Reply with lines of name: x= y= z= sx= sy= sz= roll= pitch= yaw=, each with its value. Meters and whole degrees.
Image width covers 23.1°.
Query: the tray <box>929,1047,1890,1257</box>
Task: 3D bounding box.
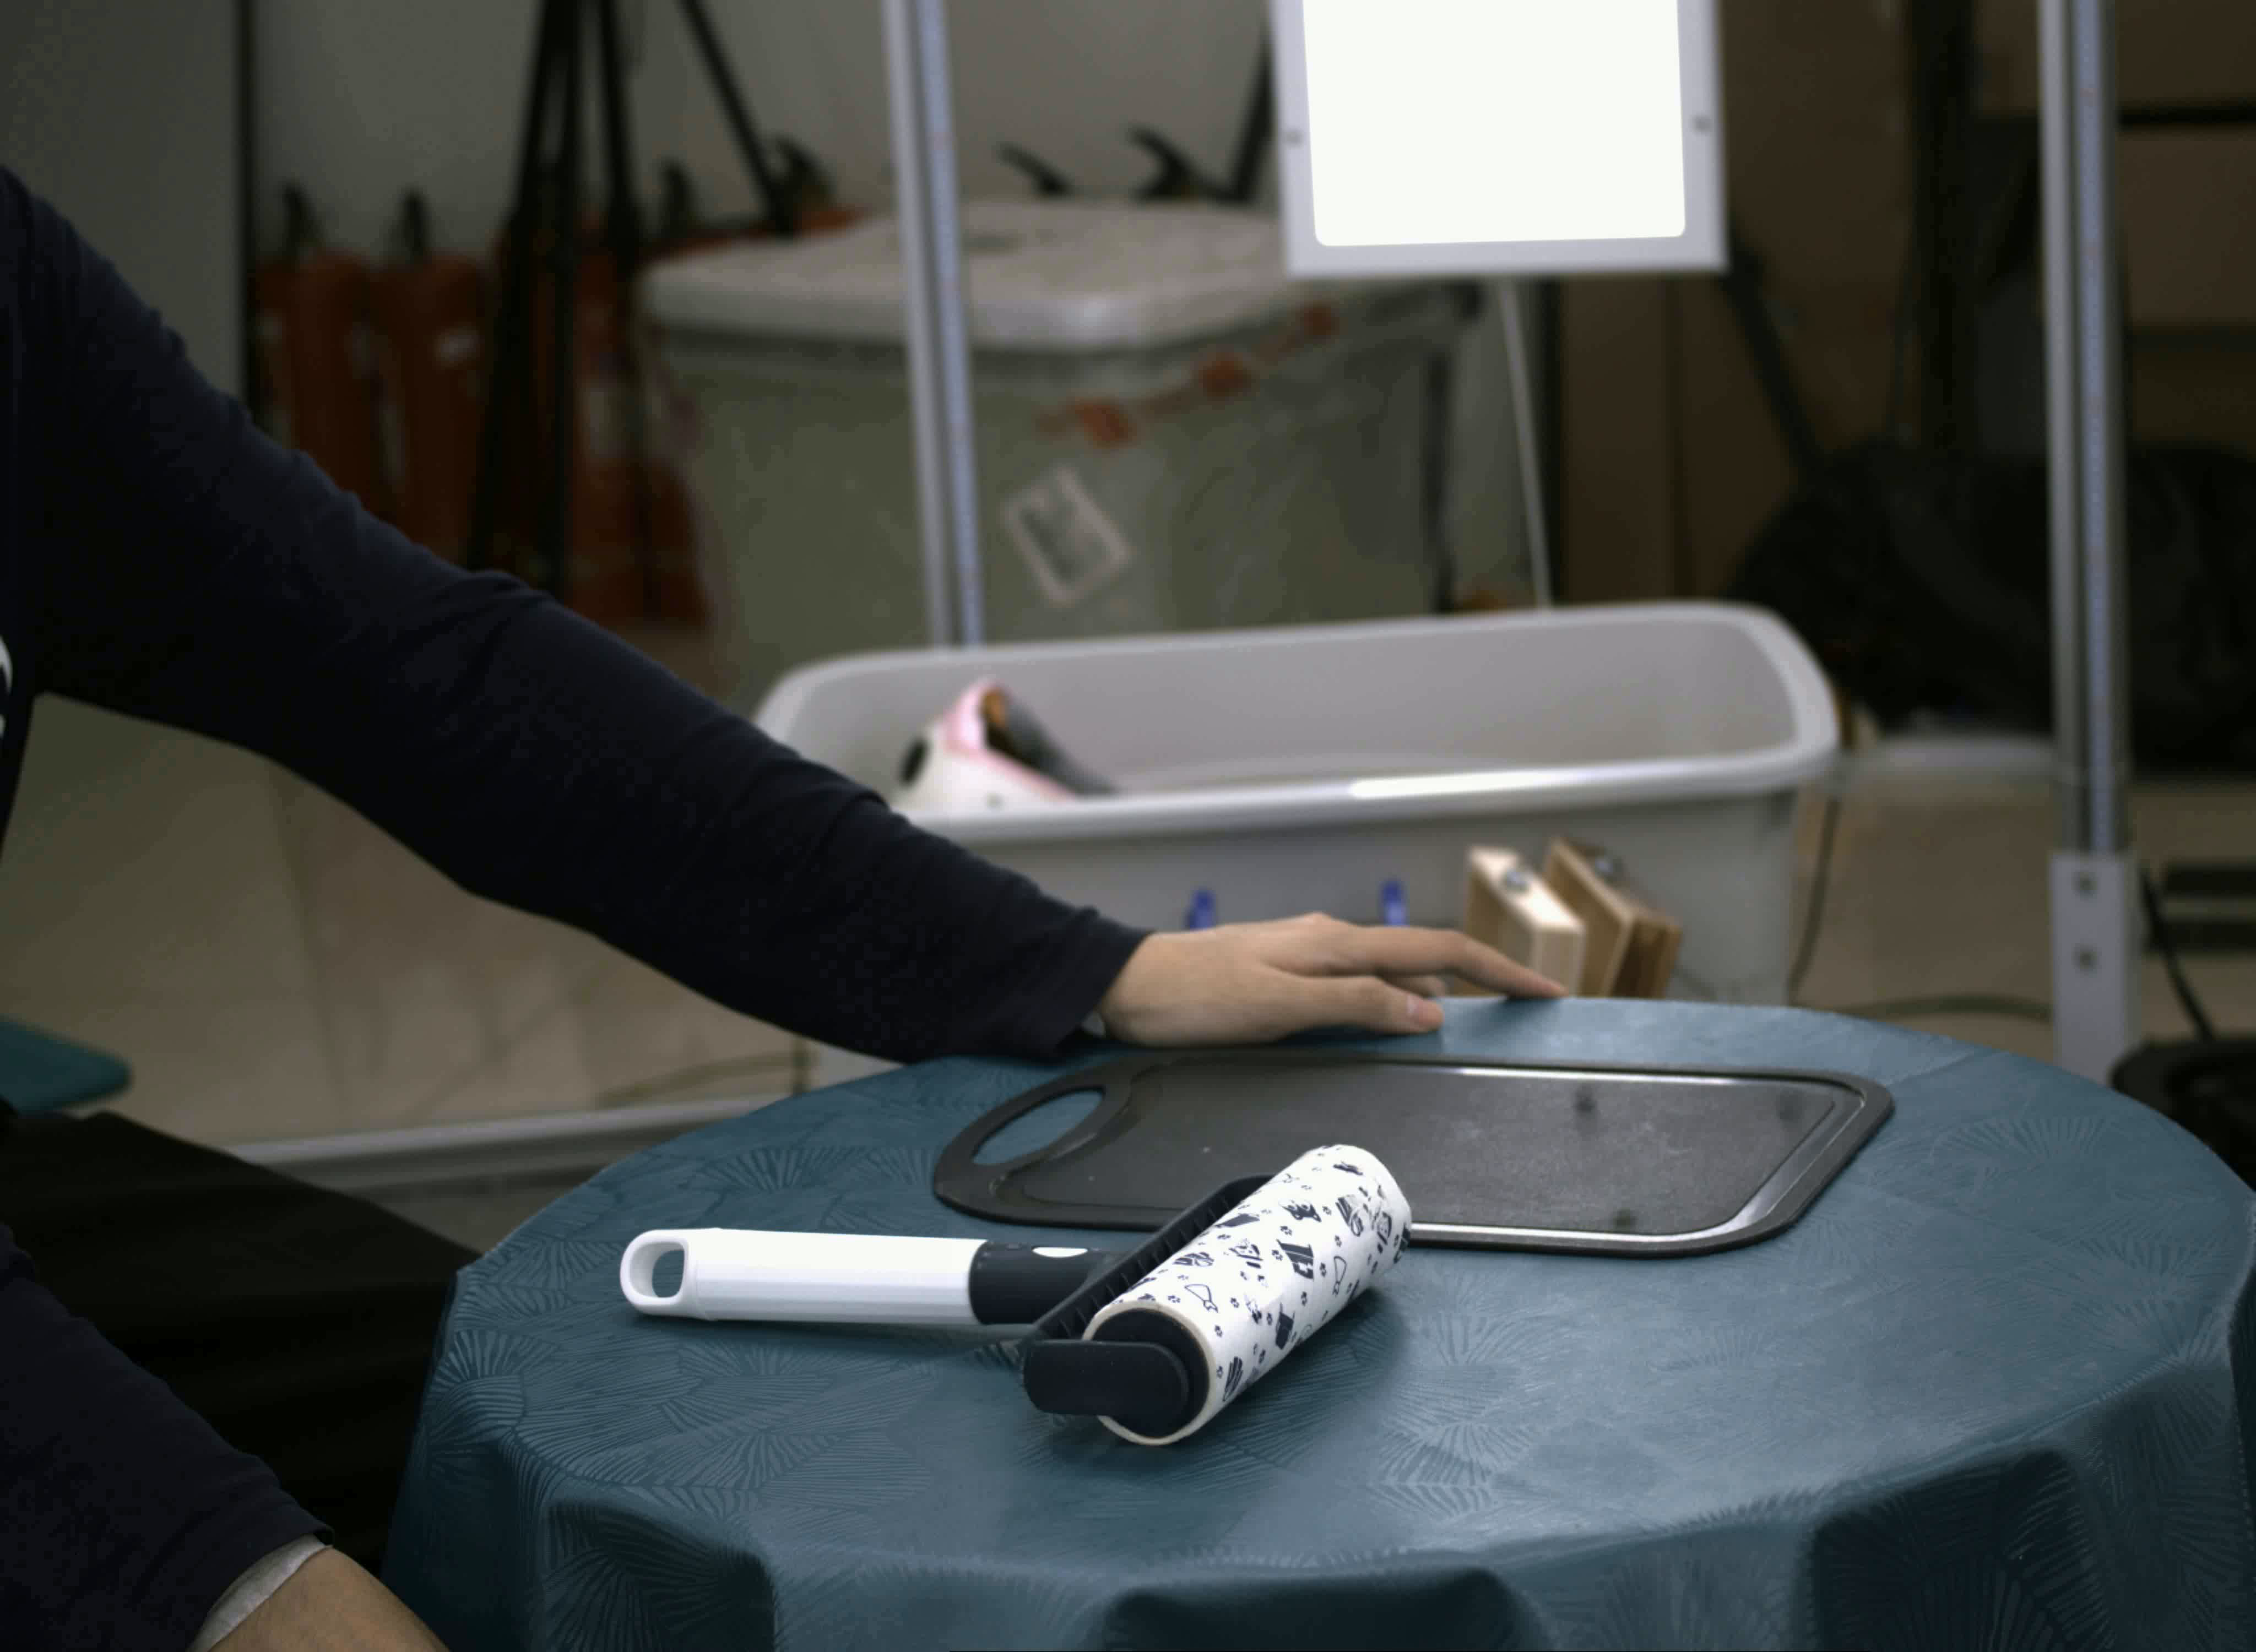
tray: x=0.092 y=0.110 z=1.924 sx=0.331 sy=0.010 sz=0.207 roll=1 pitch=15 yaw=26

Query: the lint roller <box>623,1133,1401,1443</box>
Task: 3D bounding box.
lint roller: x=-0.055 y=0.145 z=1.762 sx=0.251 sy=0.050 sz=0.173 roll=-1 pitch=15 yaw=26
